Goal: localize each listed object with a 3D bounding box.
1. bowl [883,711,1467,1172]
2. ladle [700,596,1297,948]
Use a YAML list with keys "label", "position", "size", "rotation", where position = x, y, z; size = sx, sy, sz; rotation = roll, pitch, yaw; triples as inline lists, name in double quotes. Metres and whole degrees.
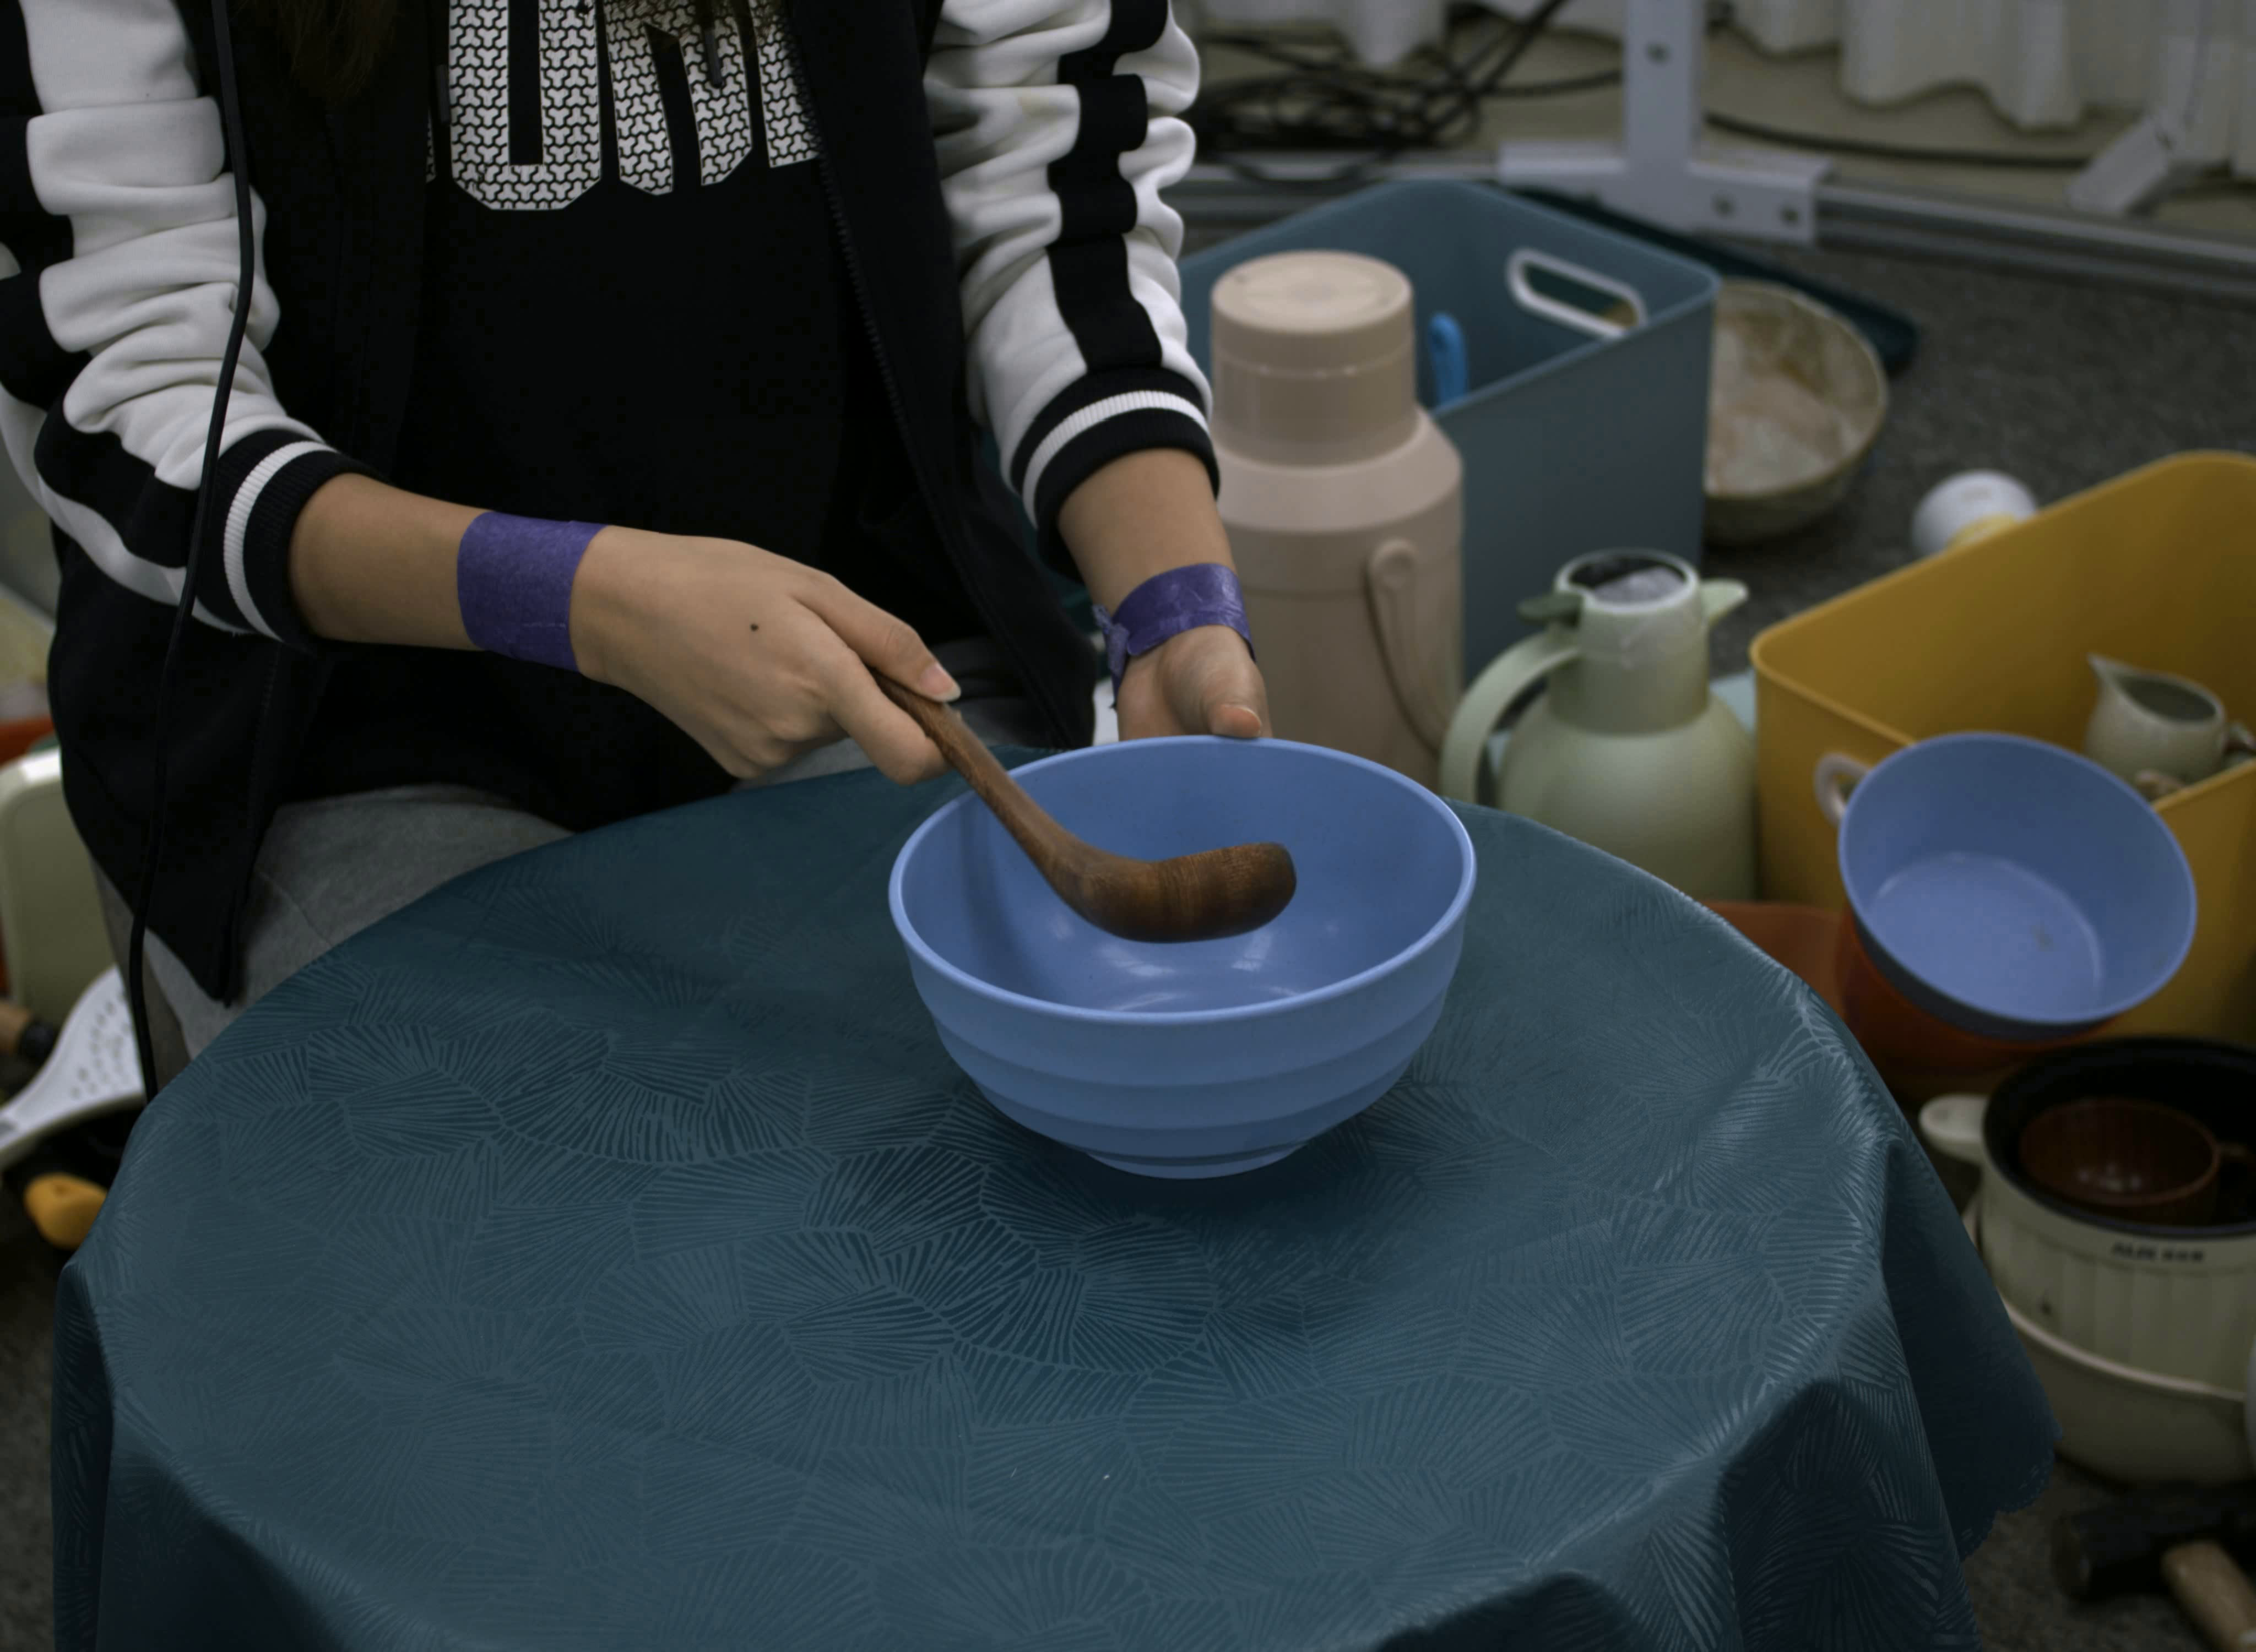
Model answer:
- label: "bowl"
  position: [0.020, 0.052, 1.894]
  size: [0.195, 0.094, 0.200]
  rotation: [-5, 32, 4]
- label: "ladle"
  position: [-0.048, -0.031, 1.910]
  size: [0.261, 0.065, 0.076]
  rotation: [38, 15, 32]
